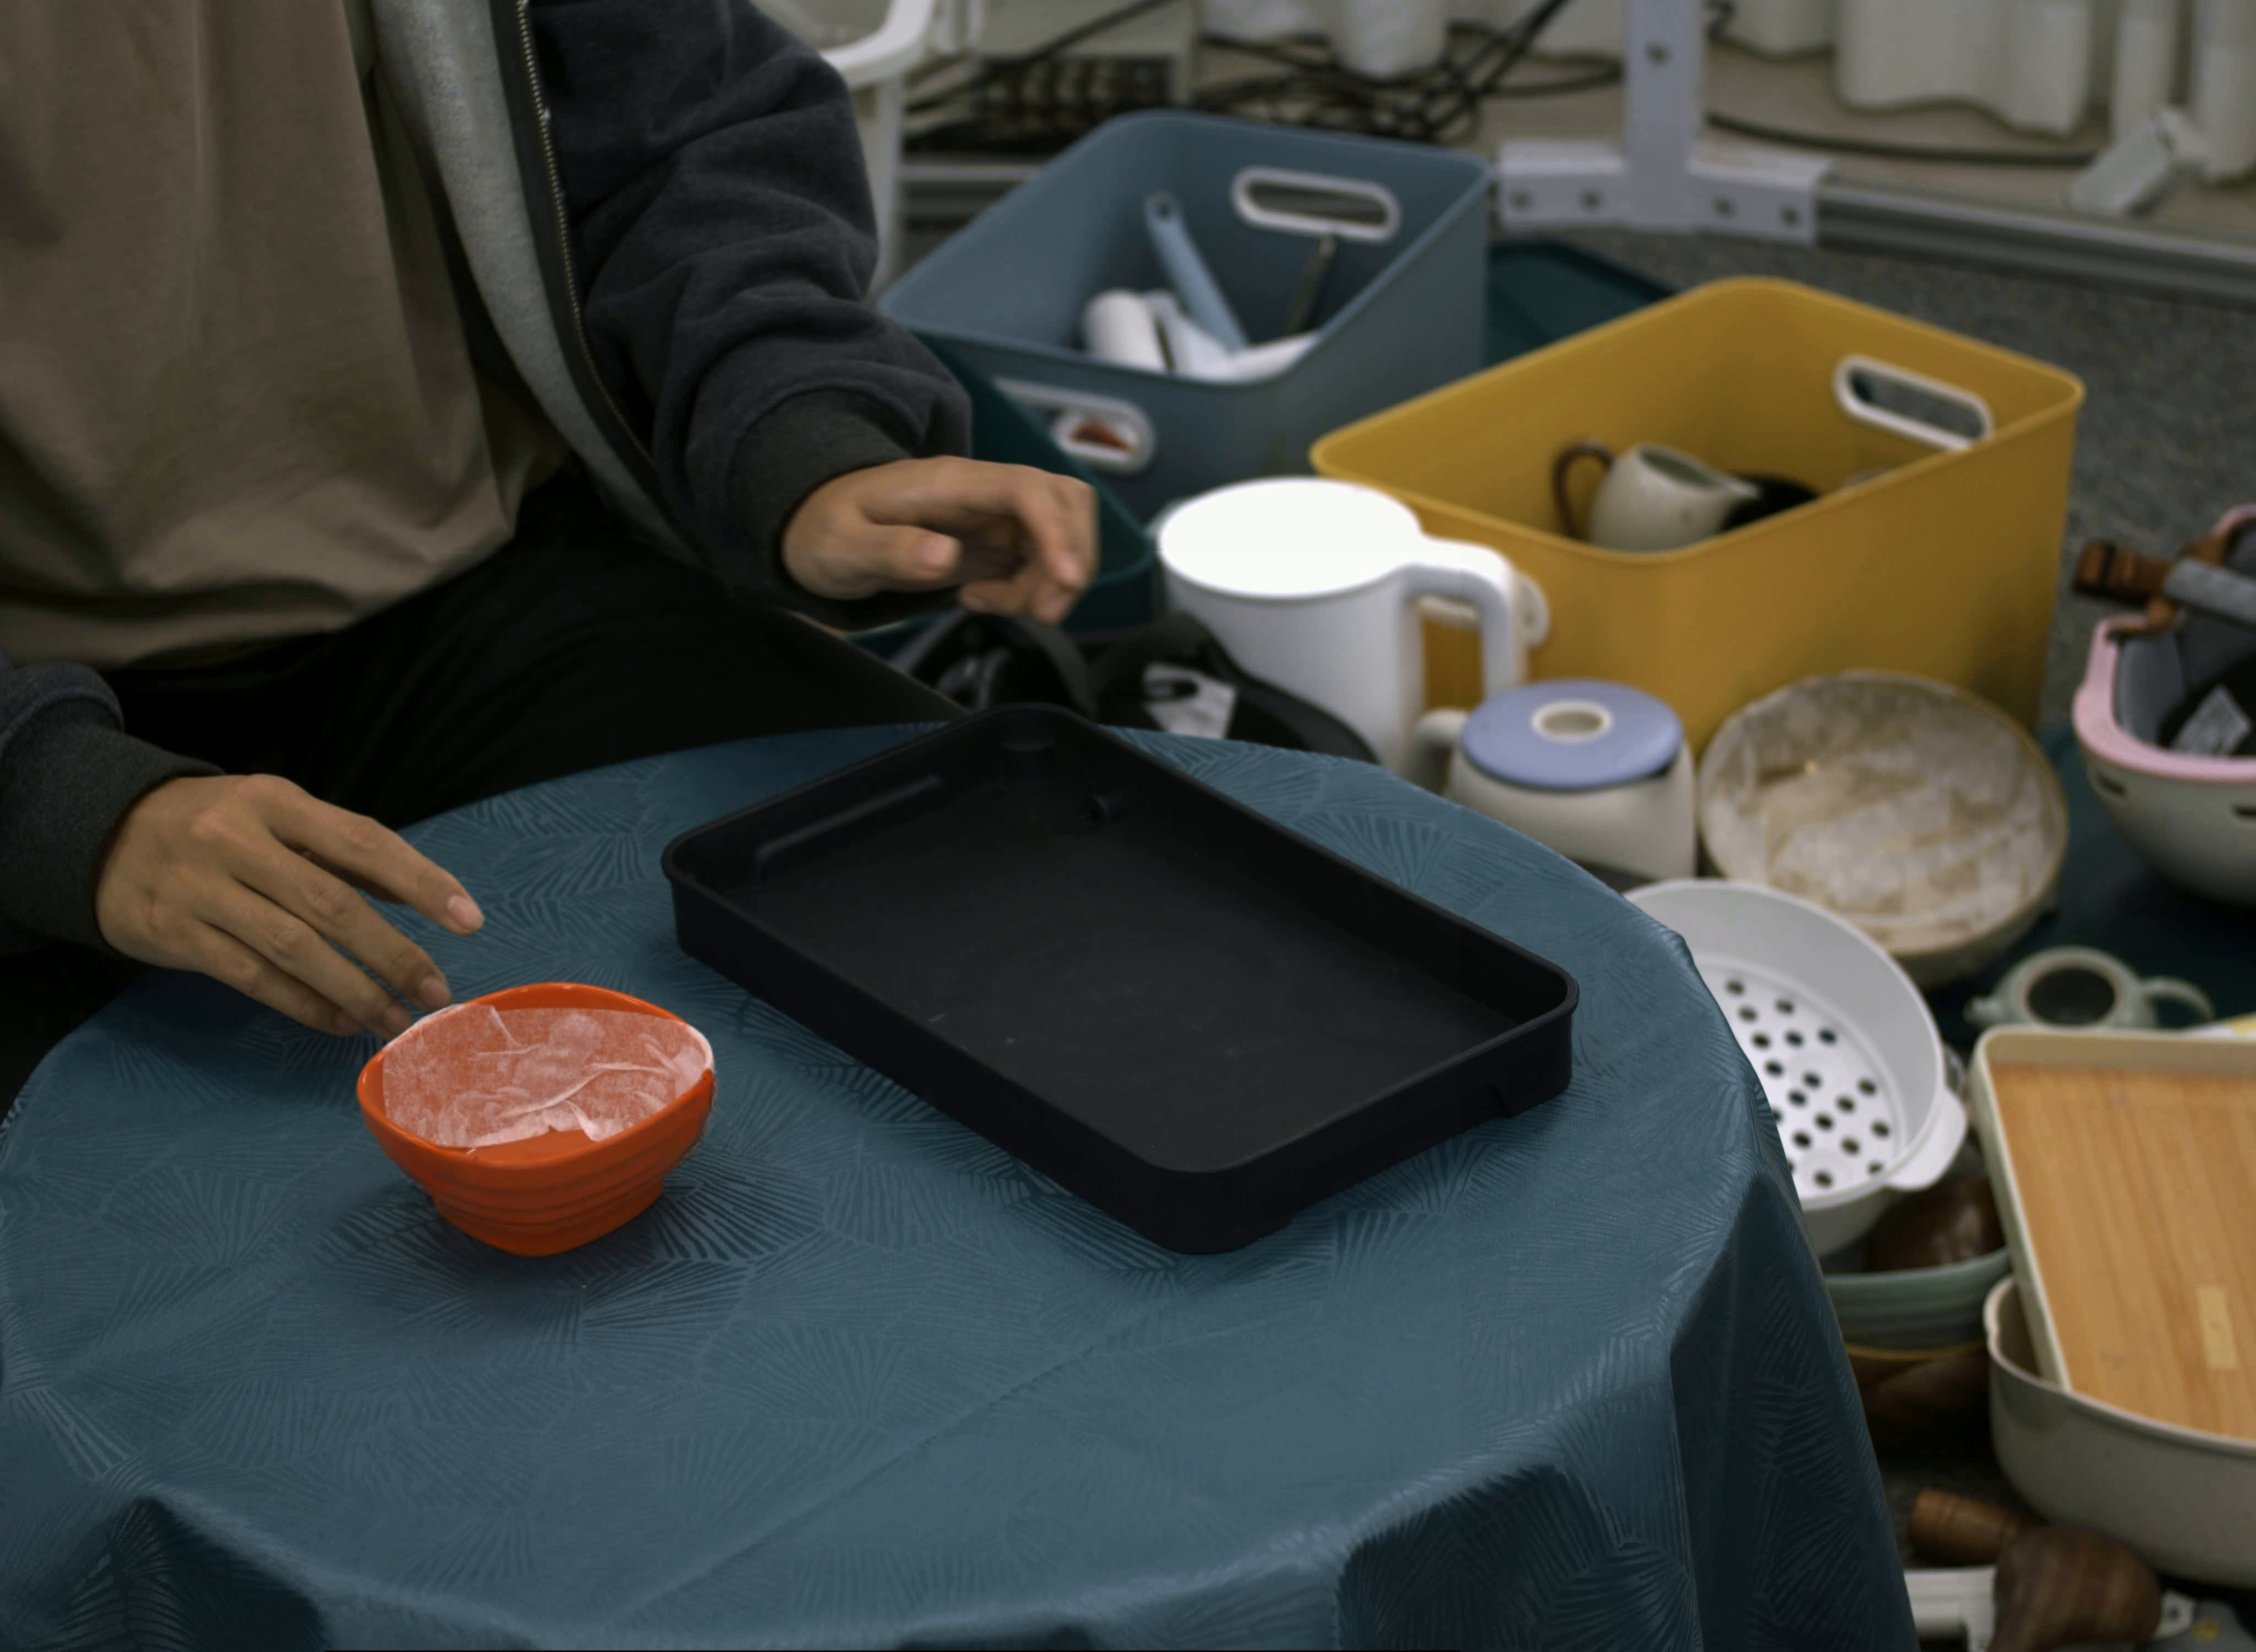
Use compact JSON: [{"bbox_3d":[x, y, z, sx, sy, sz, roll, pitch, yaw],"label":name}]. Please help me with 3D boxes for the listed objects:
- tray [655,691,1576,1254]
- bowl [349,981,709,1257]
[{"bbox_3d":[-0.008,0.045,1.968,0.186,0.036,0.318,-22,34,-33],"label":"tray"},{"bbox_3d":[-0.197,0.102,1.862,0.118,0.051,0.121,-2,27,1],"label":"bowl"}]
